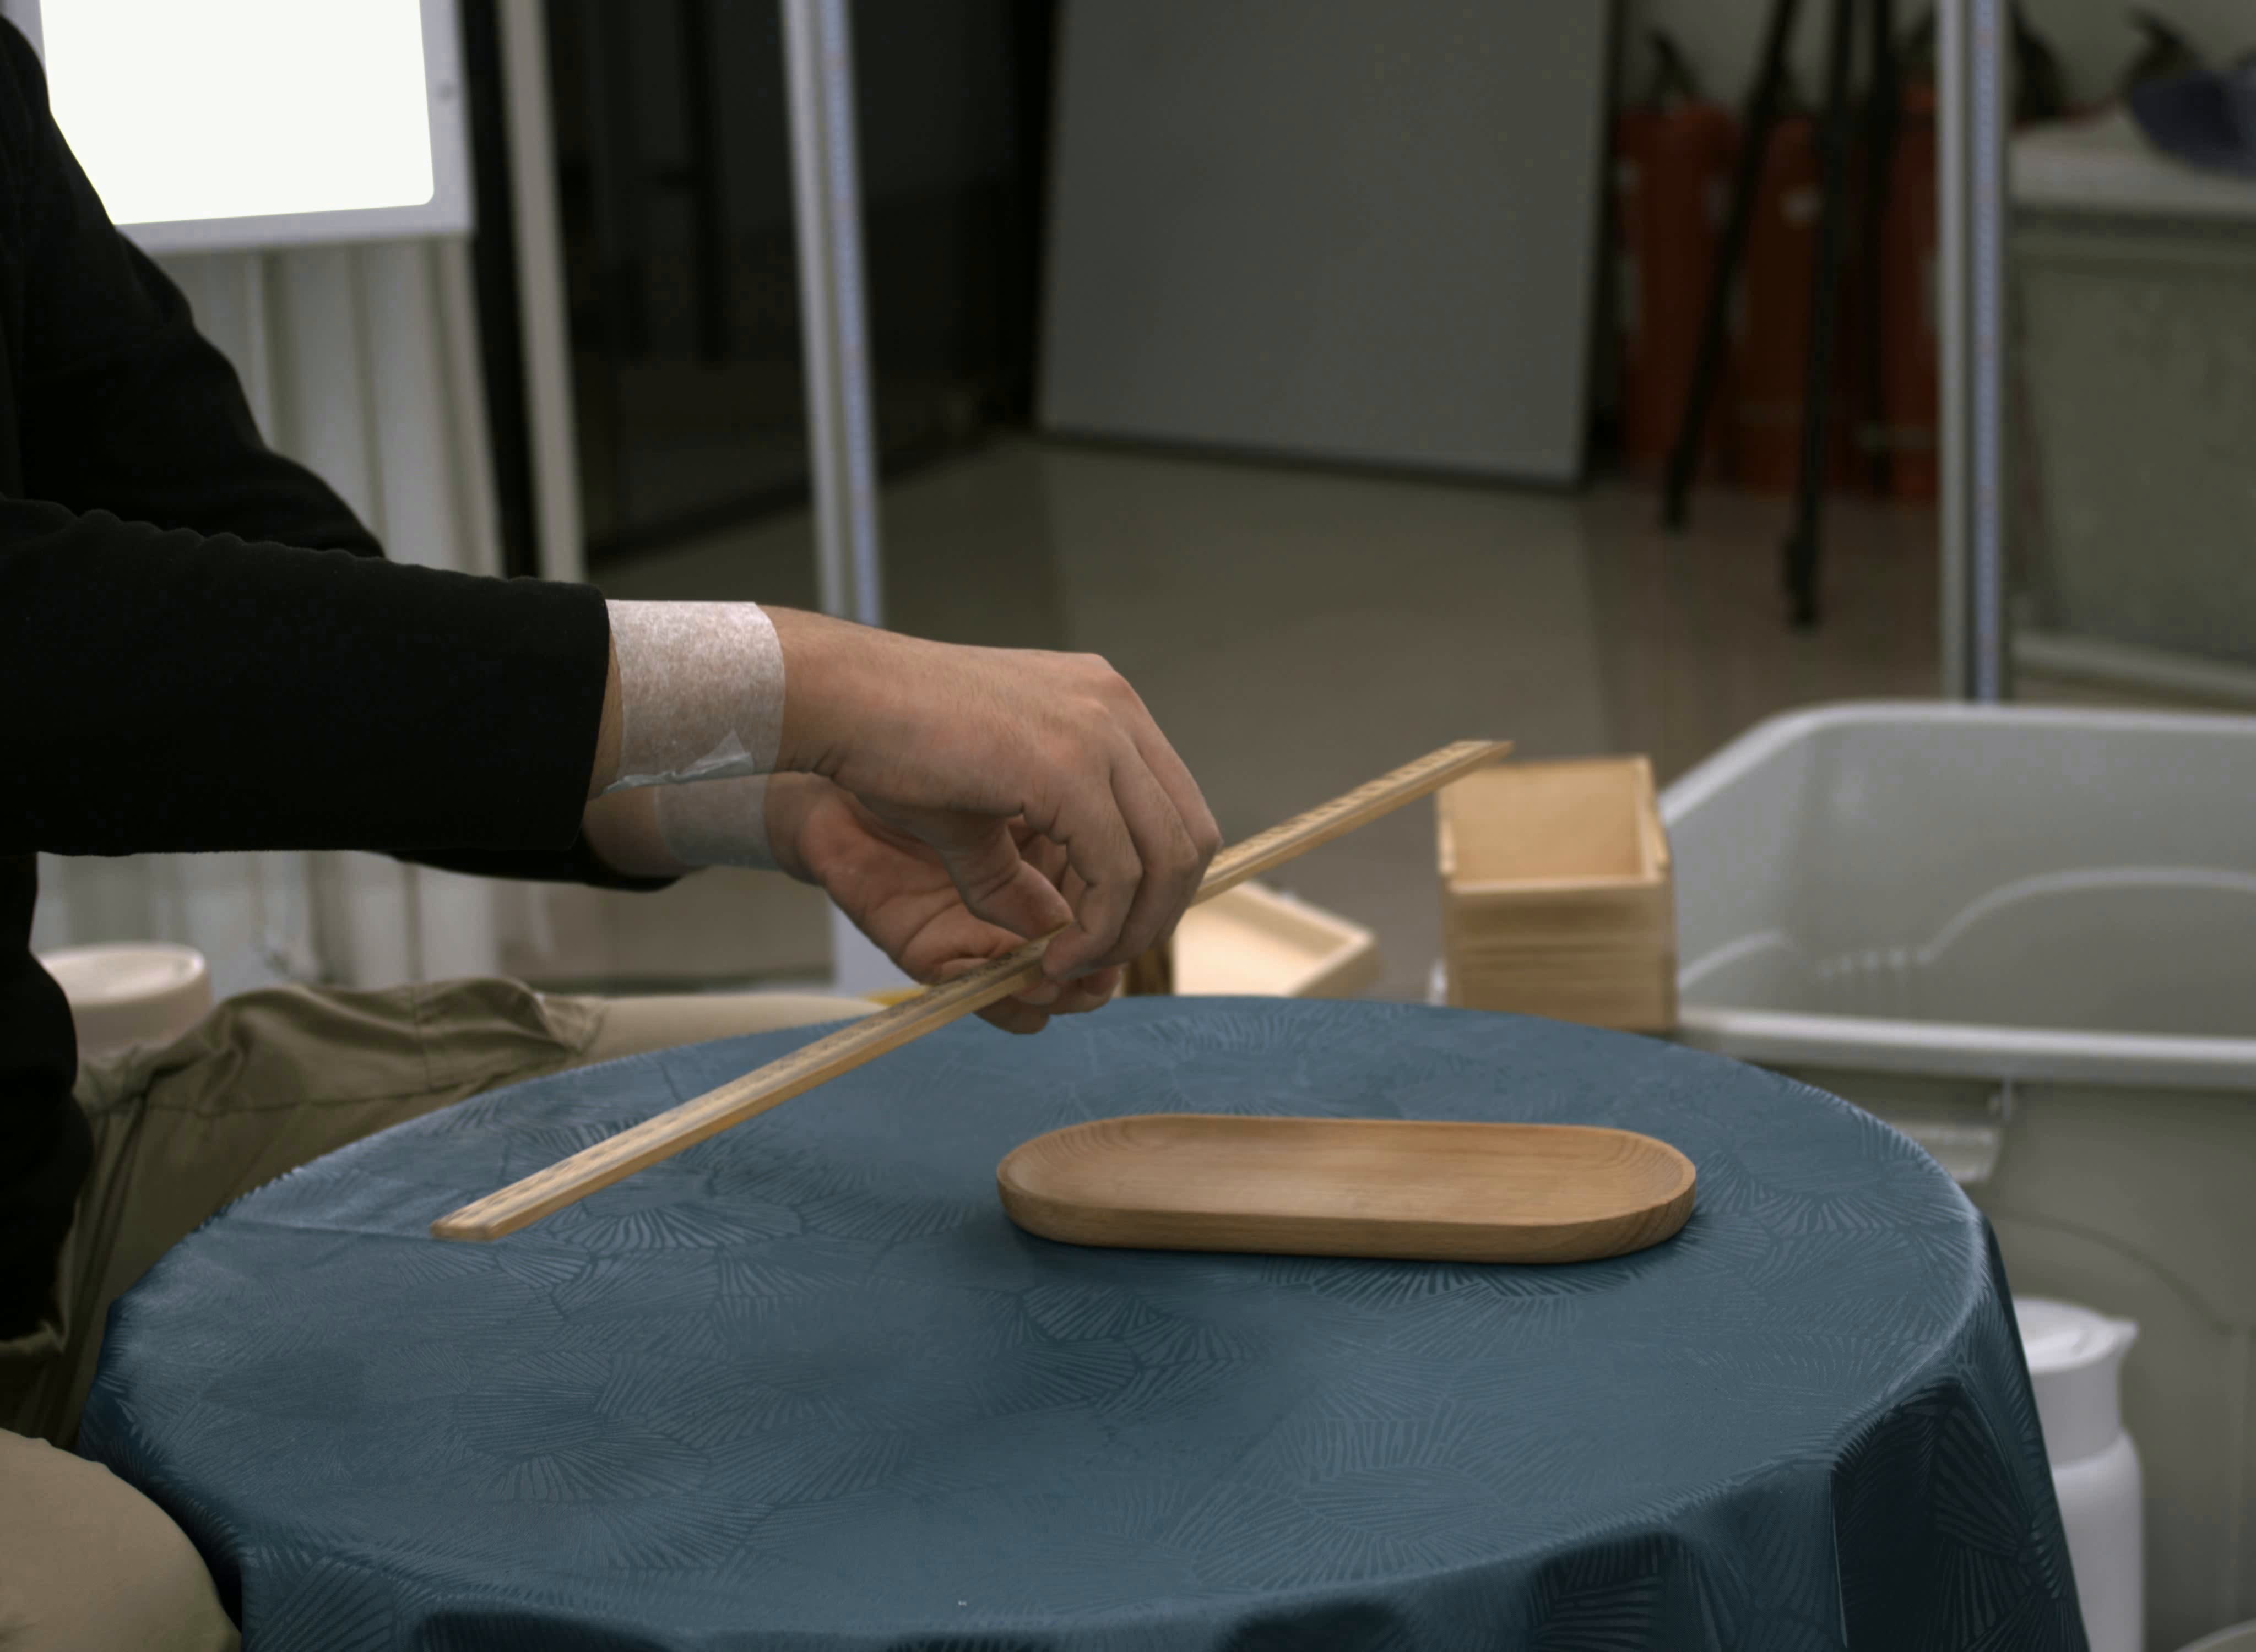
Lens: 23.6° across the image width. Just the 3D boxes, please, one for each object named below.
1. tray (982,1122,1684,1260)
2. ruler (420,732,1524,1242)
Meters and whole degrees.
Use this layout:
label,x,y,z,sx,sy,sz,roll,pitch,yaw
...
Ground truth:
label,x,y,z,sx,sy,sz,roll,pitch,yaw
tray,0.065,0.117,1.730,0.230,0.020,0.101,-2,13,17
ruler,-0.031,0.041,1.648,0.027,0.006,0.491,-6,12,43
